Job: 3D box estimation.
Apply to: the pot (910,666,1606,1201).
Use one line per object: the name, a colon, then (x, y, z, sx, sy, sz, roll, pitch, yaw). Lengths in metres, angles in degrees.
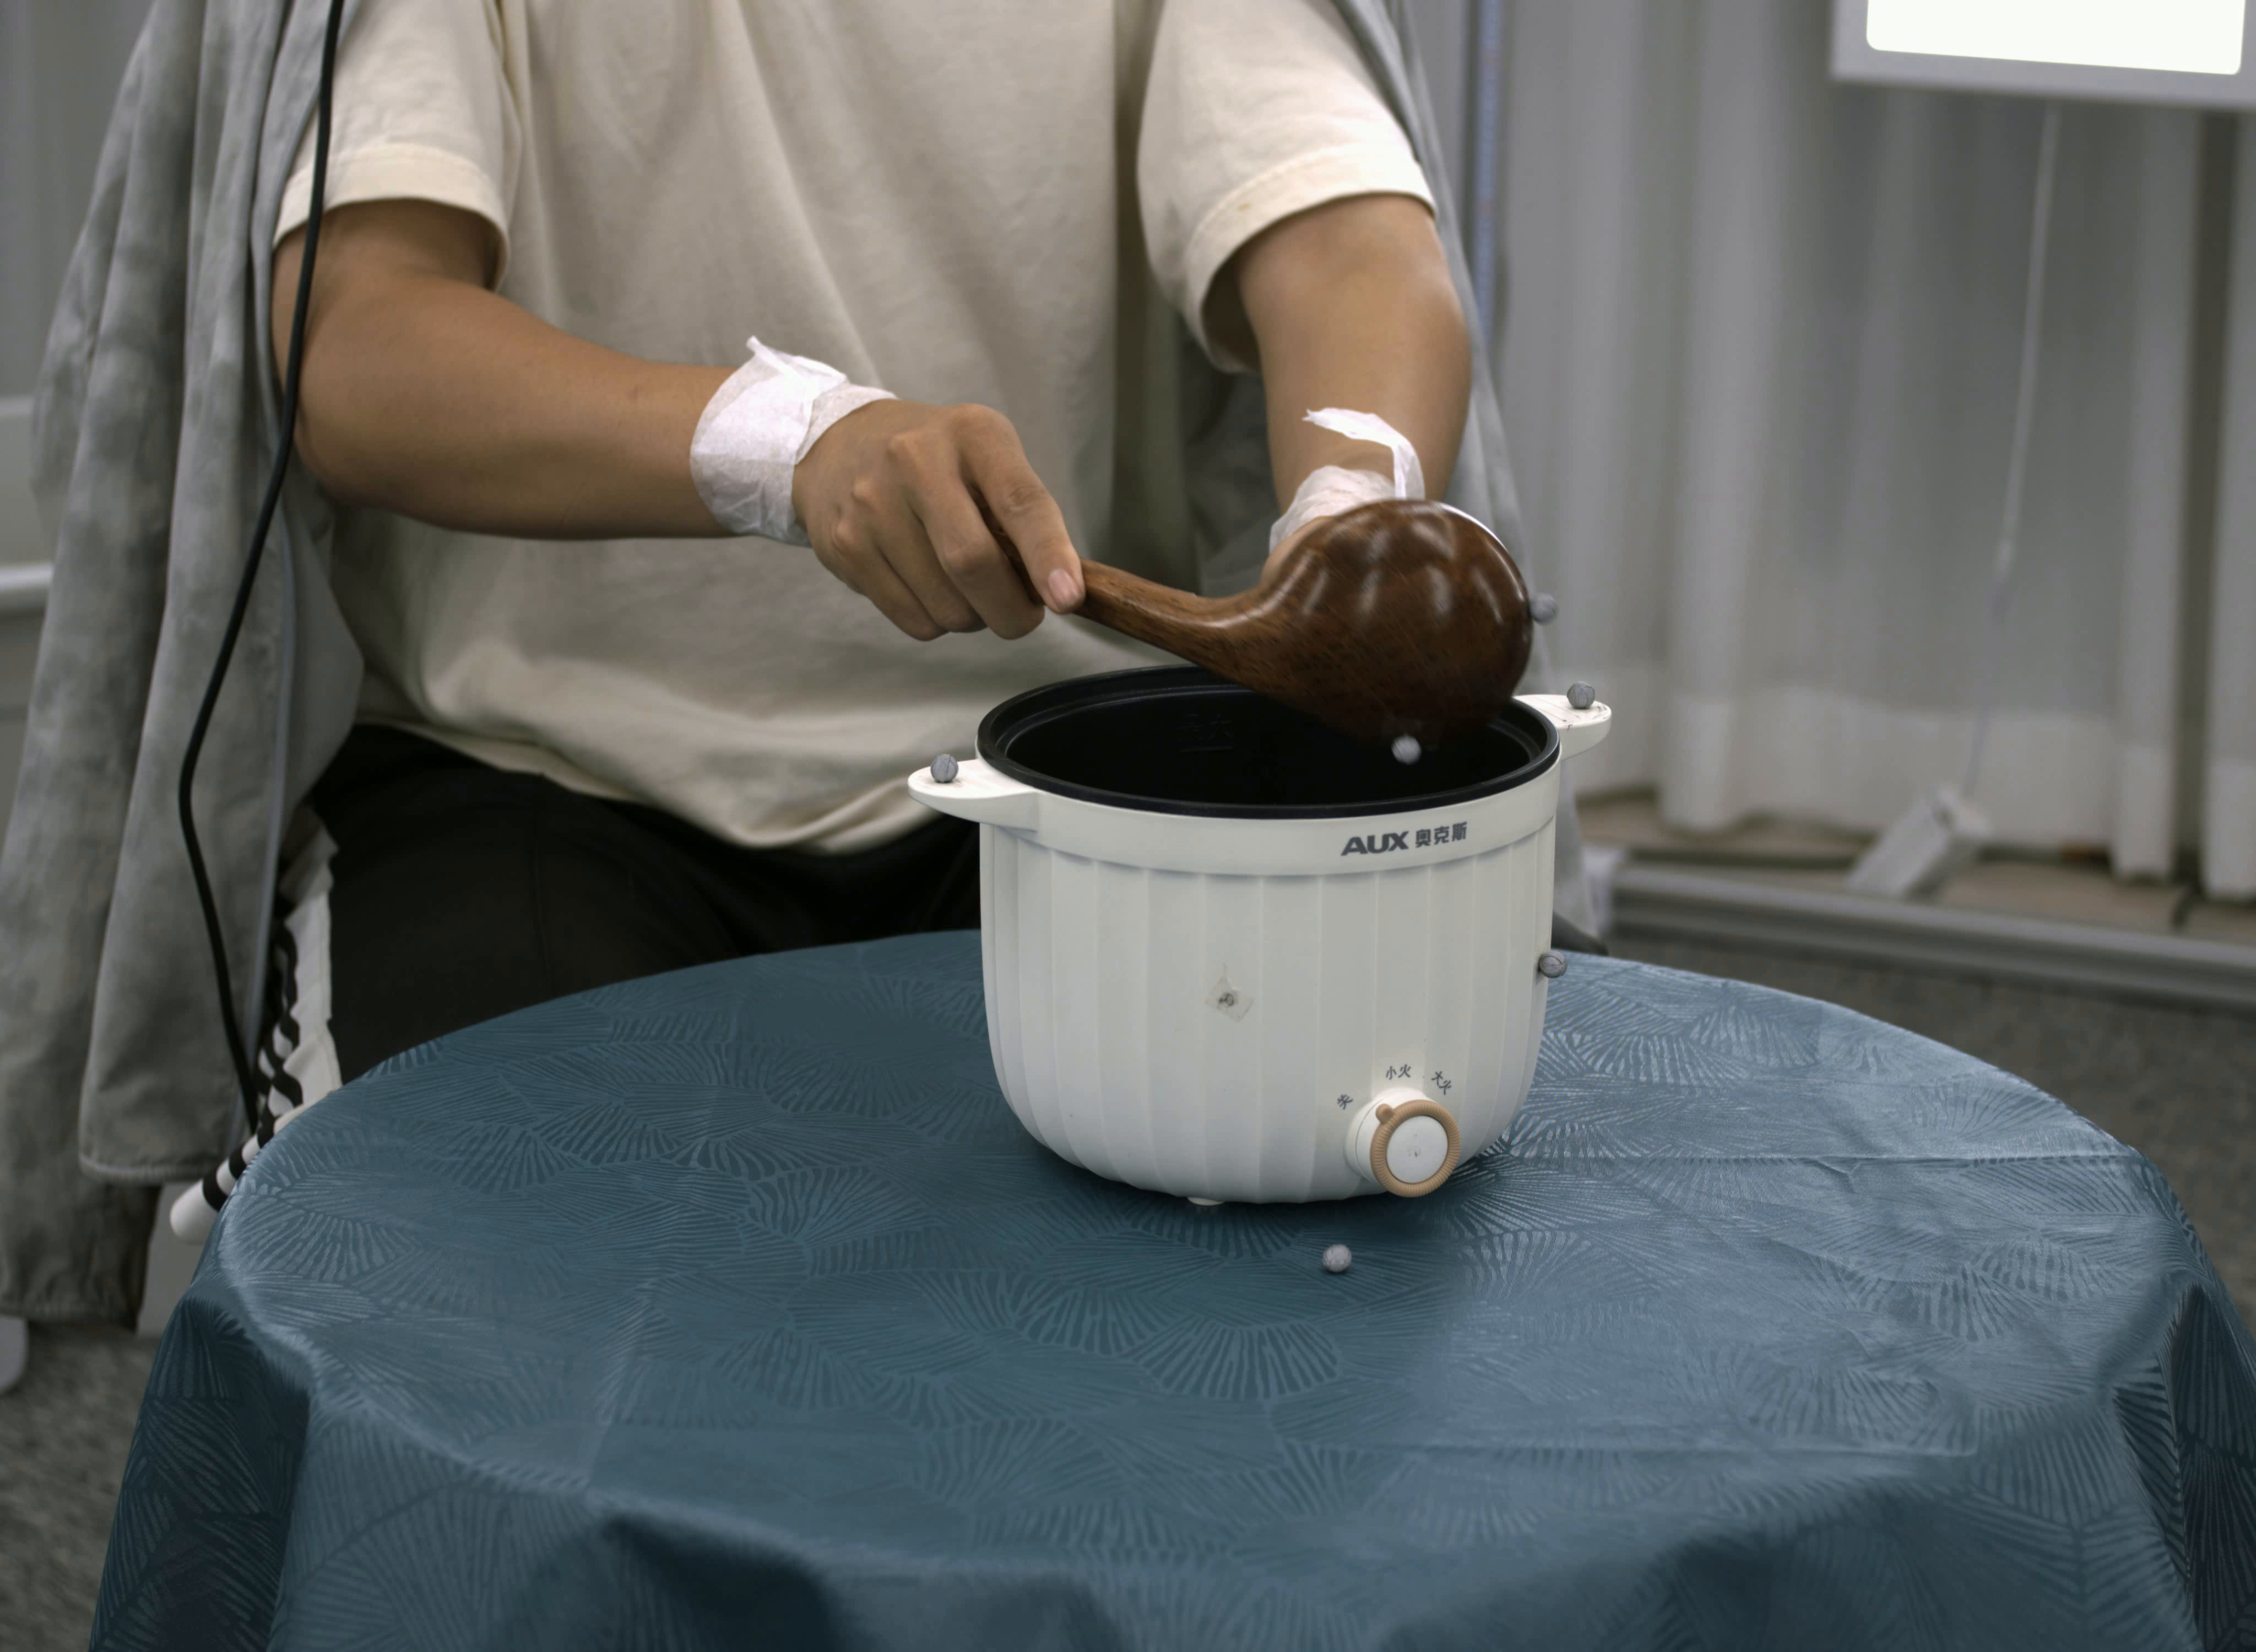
pot: (0.047, 0.035, 1.645, 0.241, 0.144, 0.188, -9, 15, -26)

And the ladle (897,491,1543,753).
ladle: (0.027, -0.078, 1.685, 0.077, 0.083, 0.270, -20, 21, -30)
